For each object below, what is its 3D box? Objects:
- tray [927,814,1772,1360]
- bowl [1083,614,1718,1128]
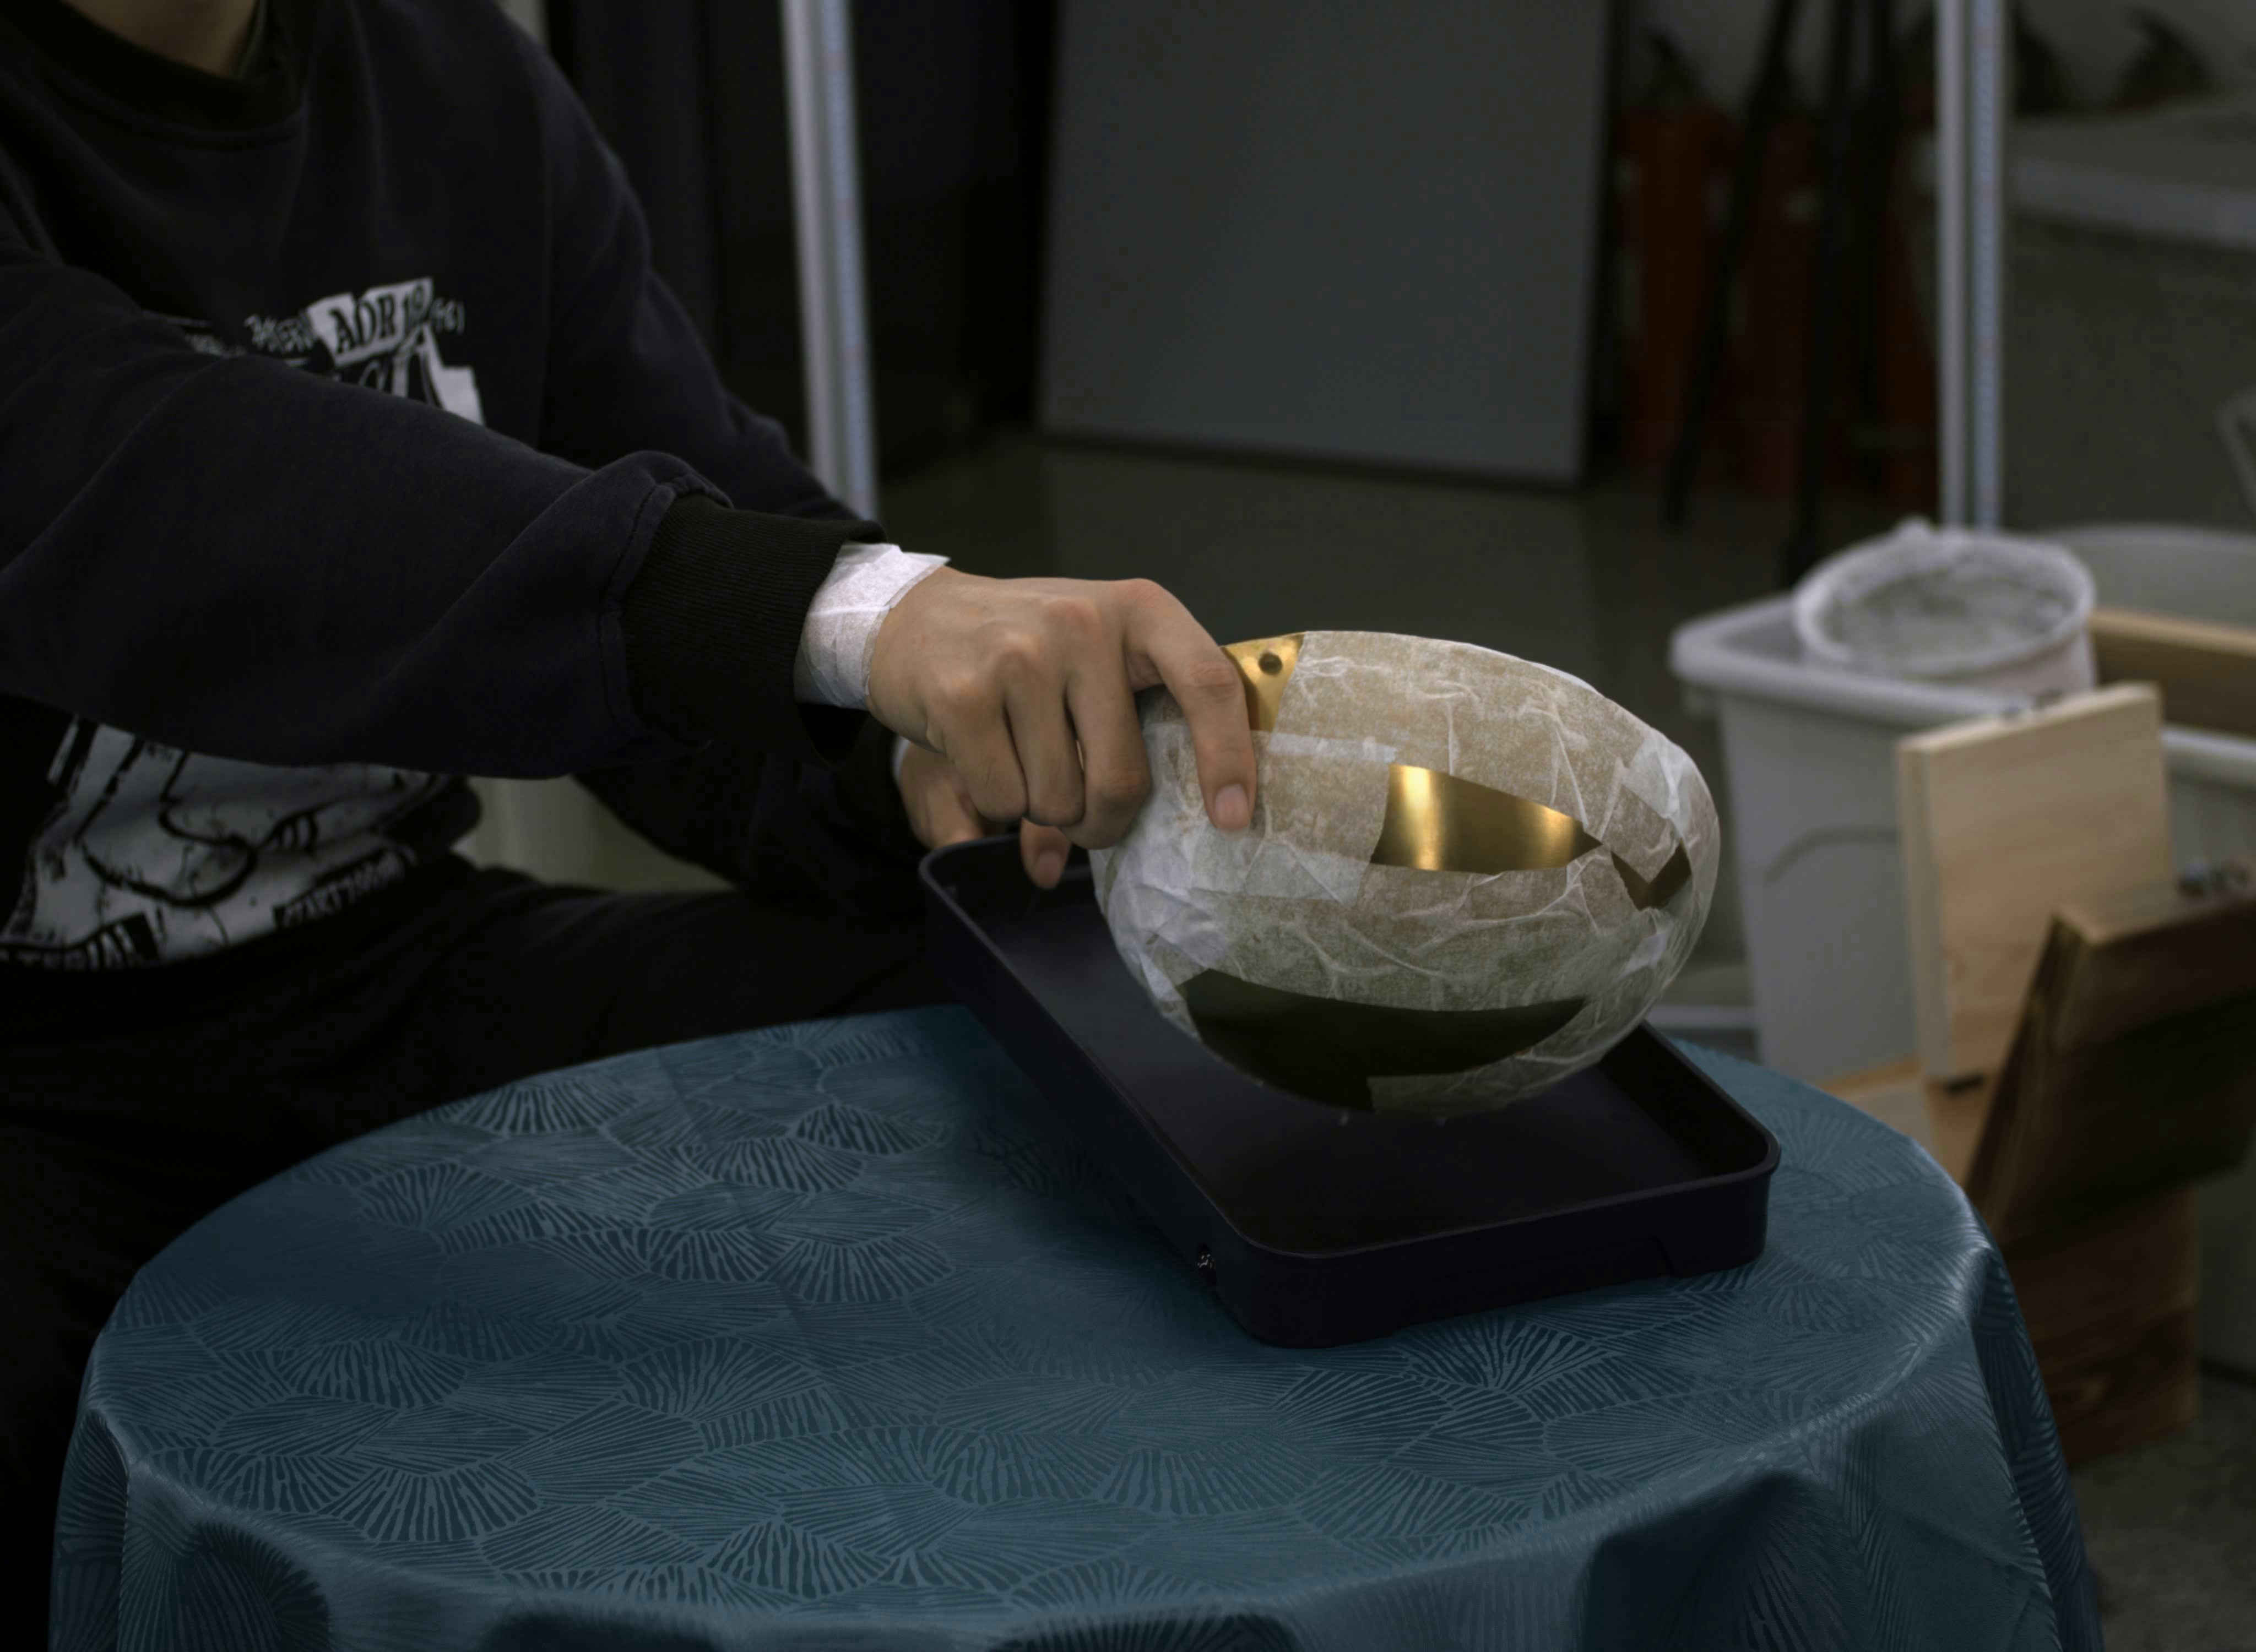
[{"bbox_3d":[0.064,0.073,1.760,0.180,0.037,0.321,-8,27,-19],"label":"tray"},{"bbox_3d":[0.078,0.033,1.662,0.214,0.214,0.095,1,56,16],"label":"bowl"}]
